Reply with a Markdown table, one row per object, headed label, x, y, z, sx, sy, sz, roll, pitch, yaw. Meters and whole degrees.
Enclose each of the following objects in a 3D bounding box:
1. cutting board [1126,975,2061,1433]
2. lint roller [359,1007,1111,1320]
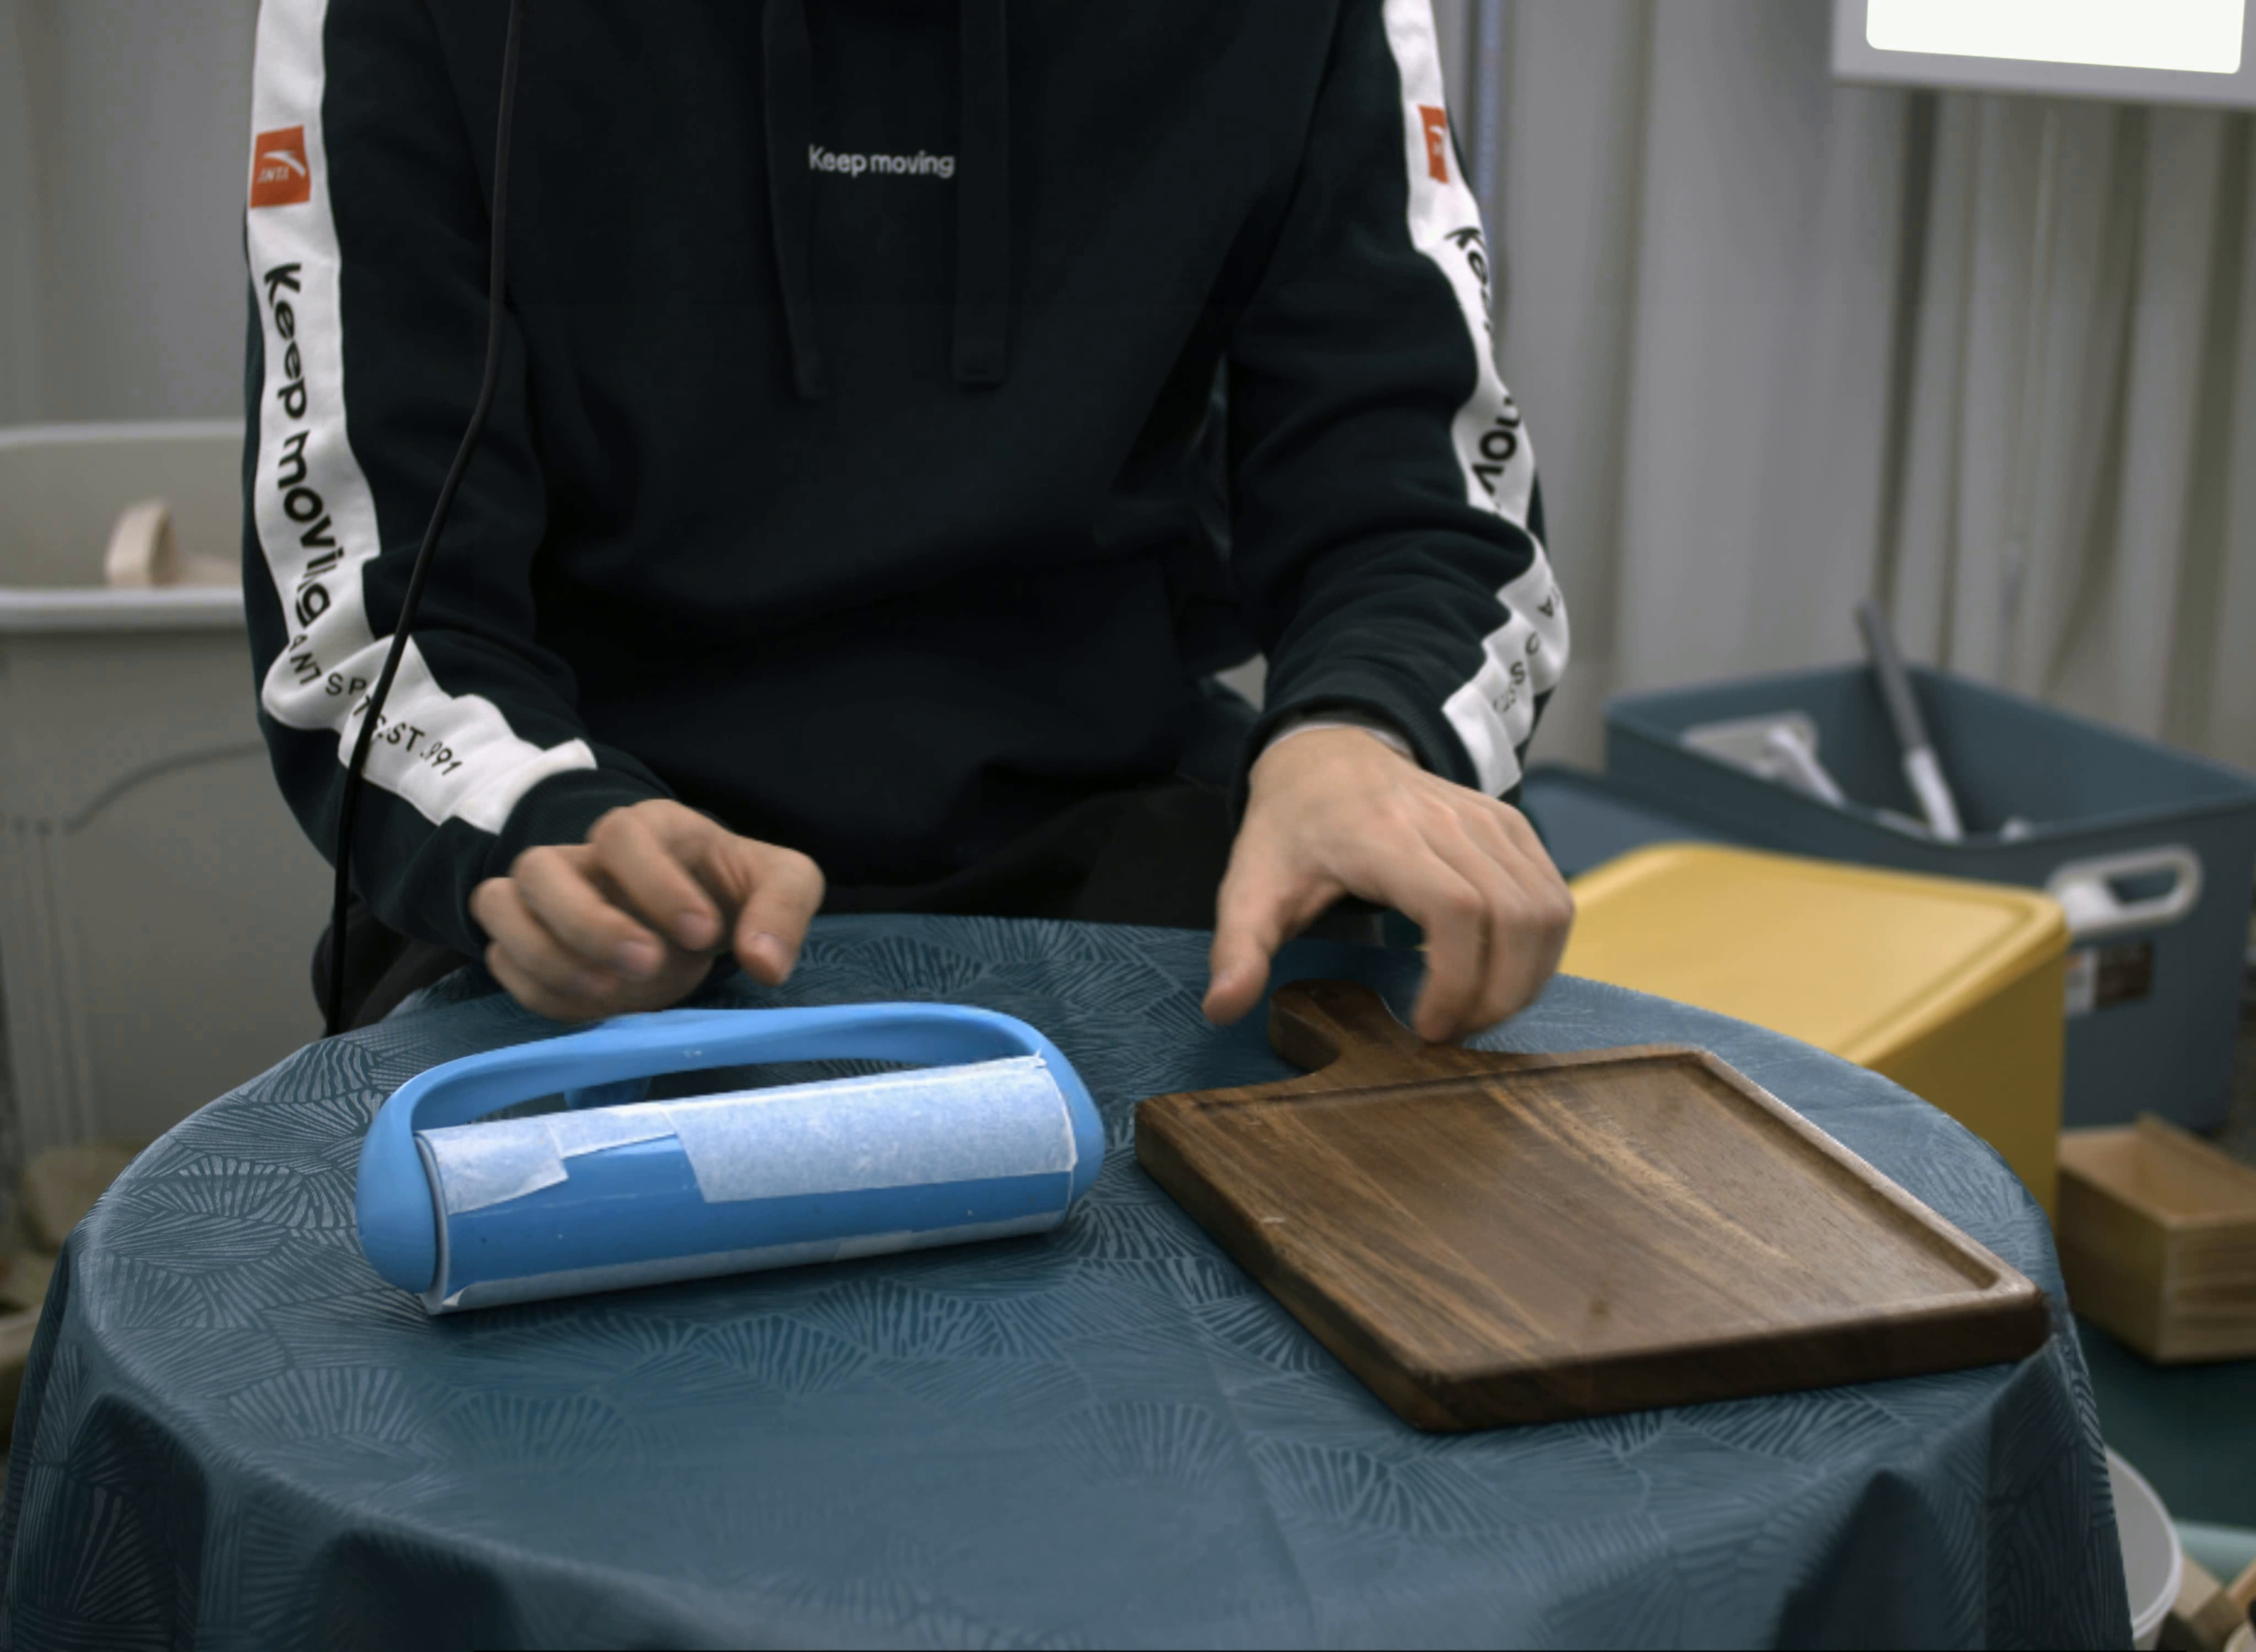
| label | x | y | z | sx | sy | sz | roll | pitch | yaw |
| --- | --- | --- | --- | --- | --- | --- | --- | --- | --- |
| cutting board | 0.116 | 0.104 | 1.610 | 0.201 | 0.023 | 0.348 | -4 | 16 | -19 |
| lint roller | -0.137 | 0.089 | 1.593 | 0.229 | 0.068 | 0.178 | -8 | 19 | -24 |
